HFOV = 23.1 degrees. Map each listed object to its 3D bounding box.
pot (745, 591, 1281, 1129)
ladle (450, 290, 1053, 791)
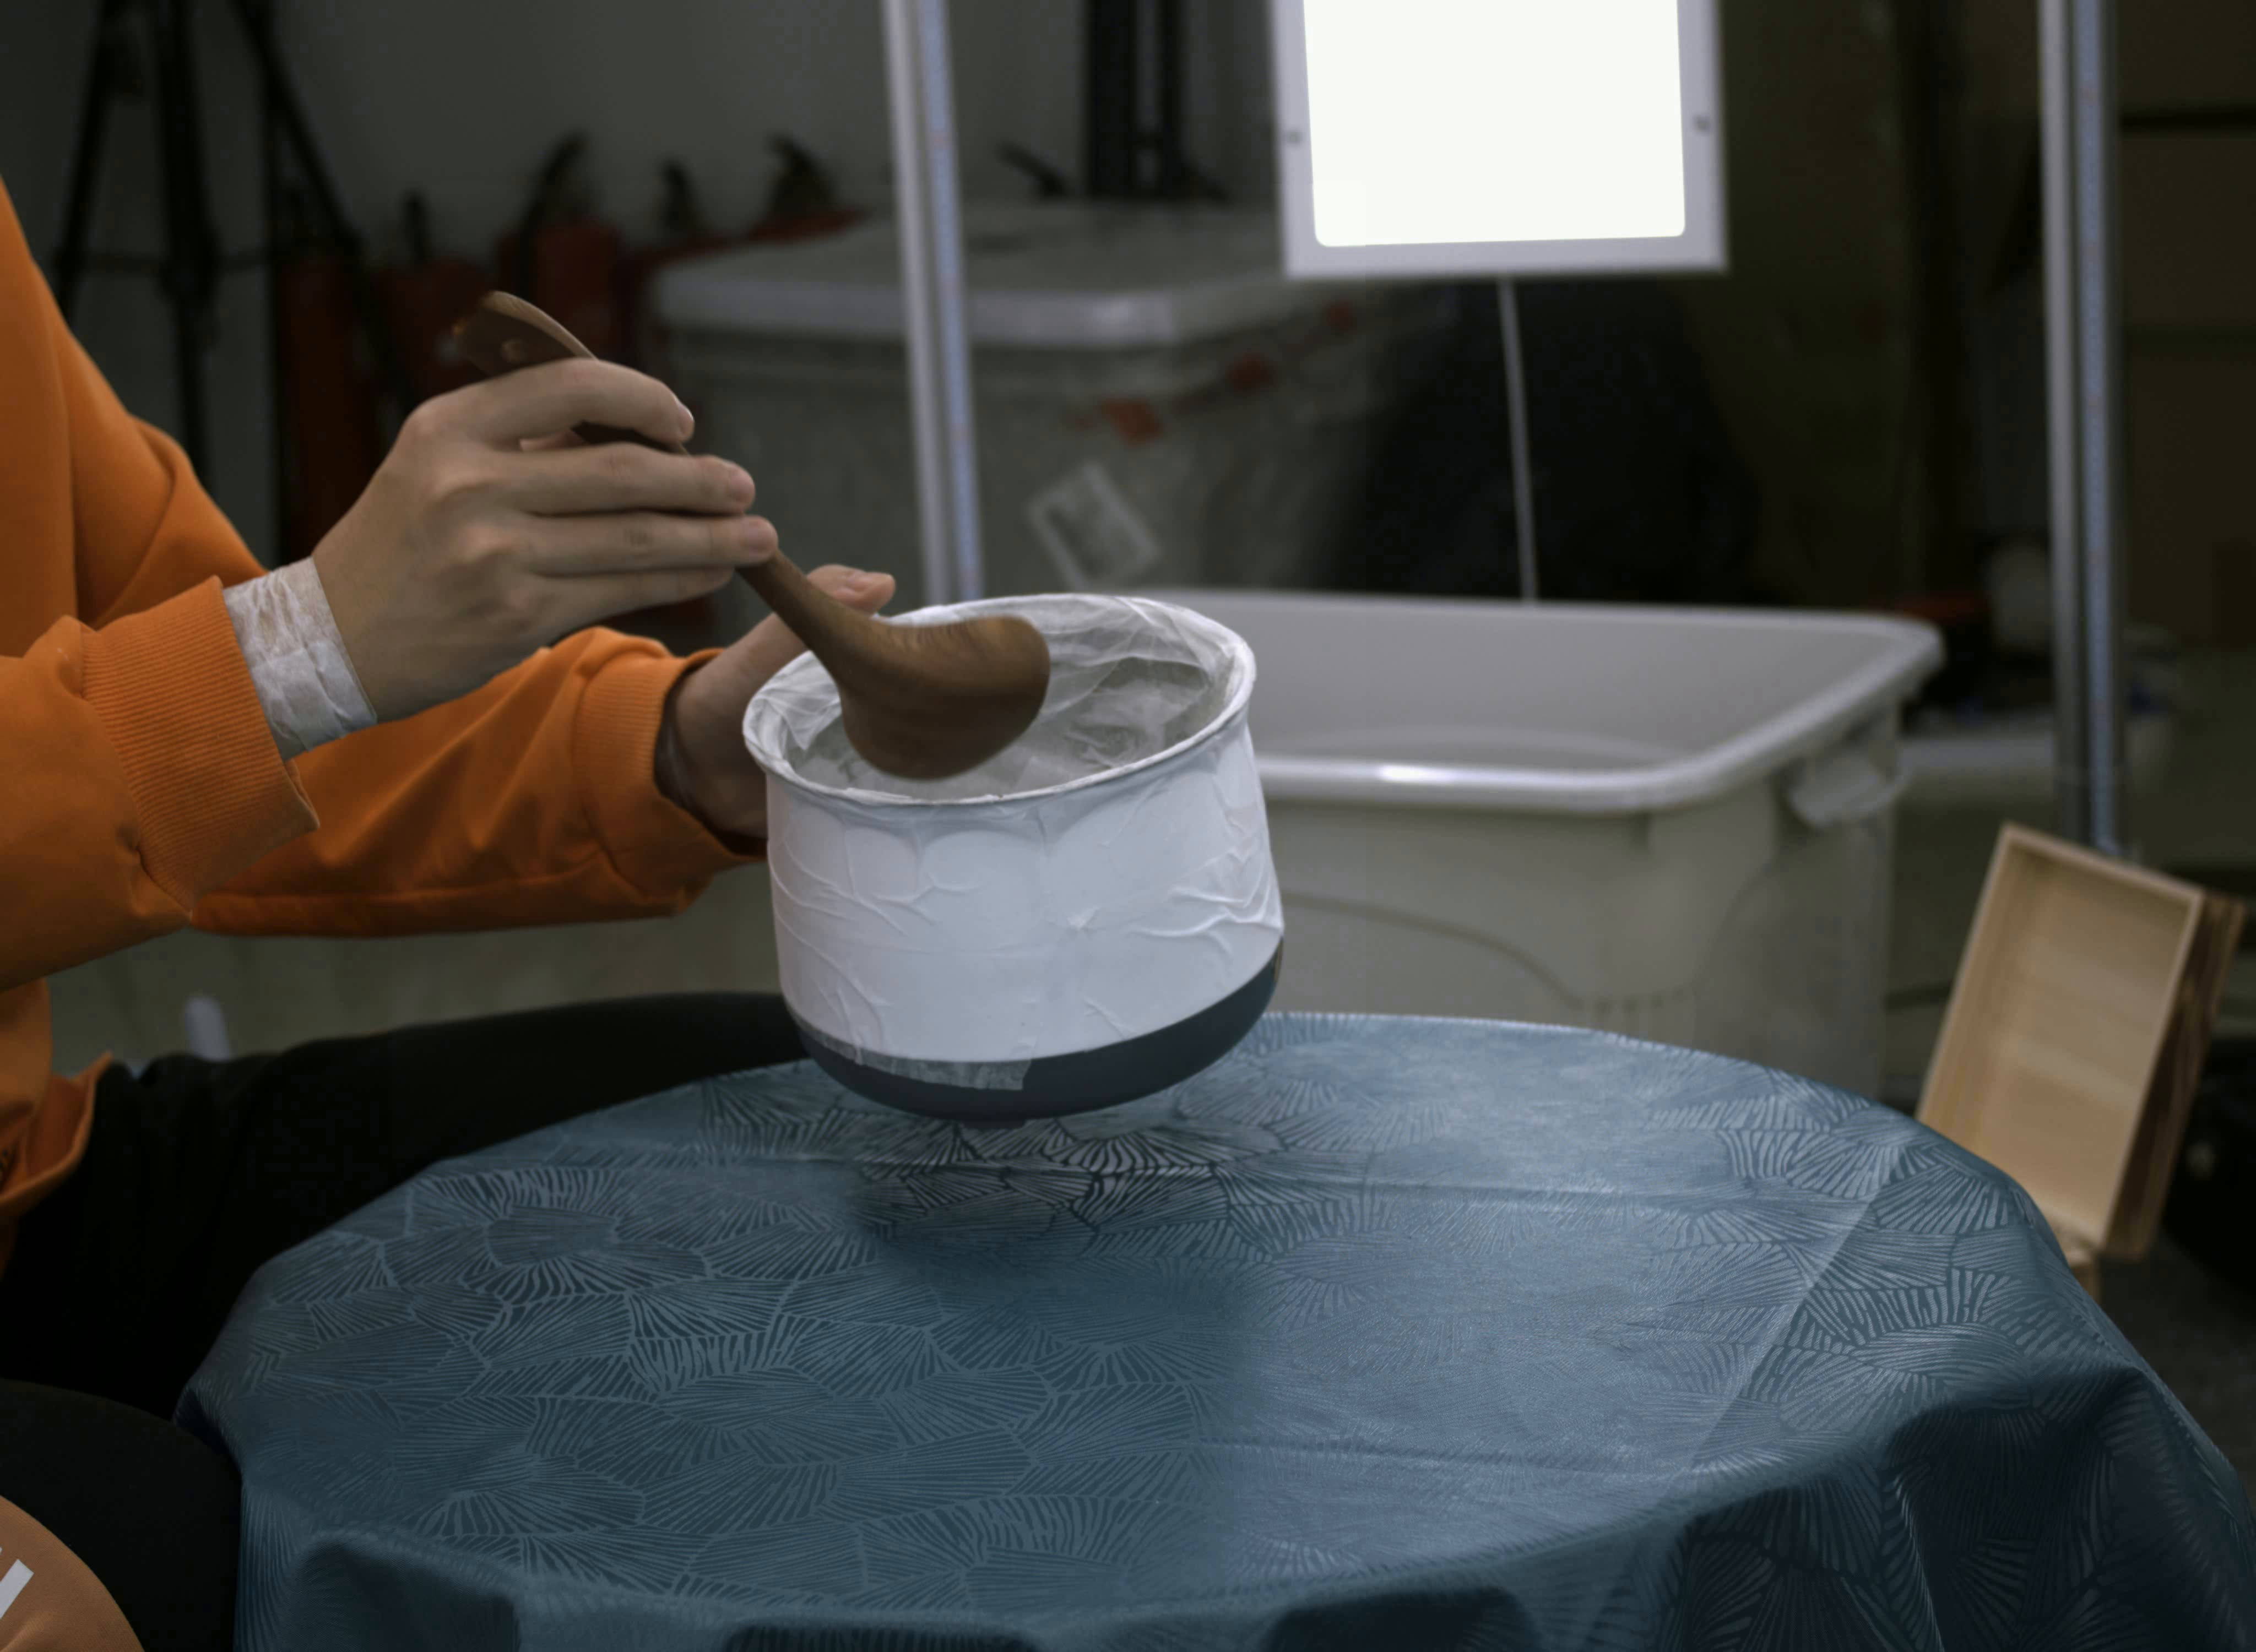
[{"bbox_3d":[-0.053,0.004,1.922,0.175,0.137,0.238,-20,27,-27],"label":"pot"},{"bbox_3d":[-0.125,-0.100,1.817,0.077,0.257,0.065,-38,26,21],"label":"ladle"}]
